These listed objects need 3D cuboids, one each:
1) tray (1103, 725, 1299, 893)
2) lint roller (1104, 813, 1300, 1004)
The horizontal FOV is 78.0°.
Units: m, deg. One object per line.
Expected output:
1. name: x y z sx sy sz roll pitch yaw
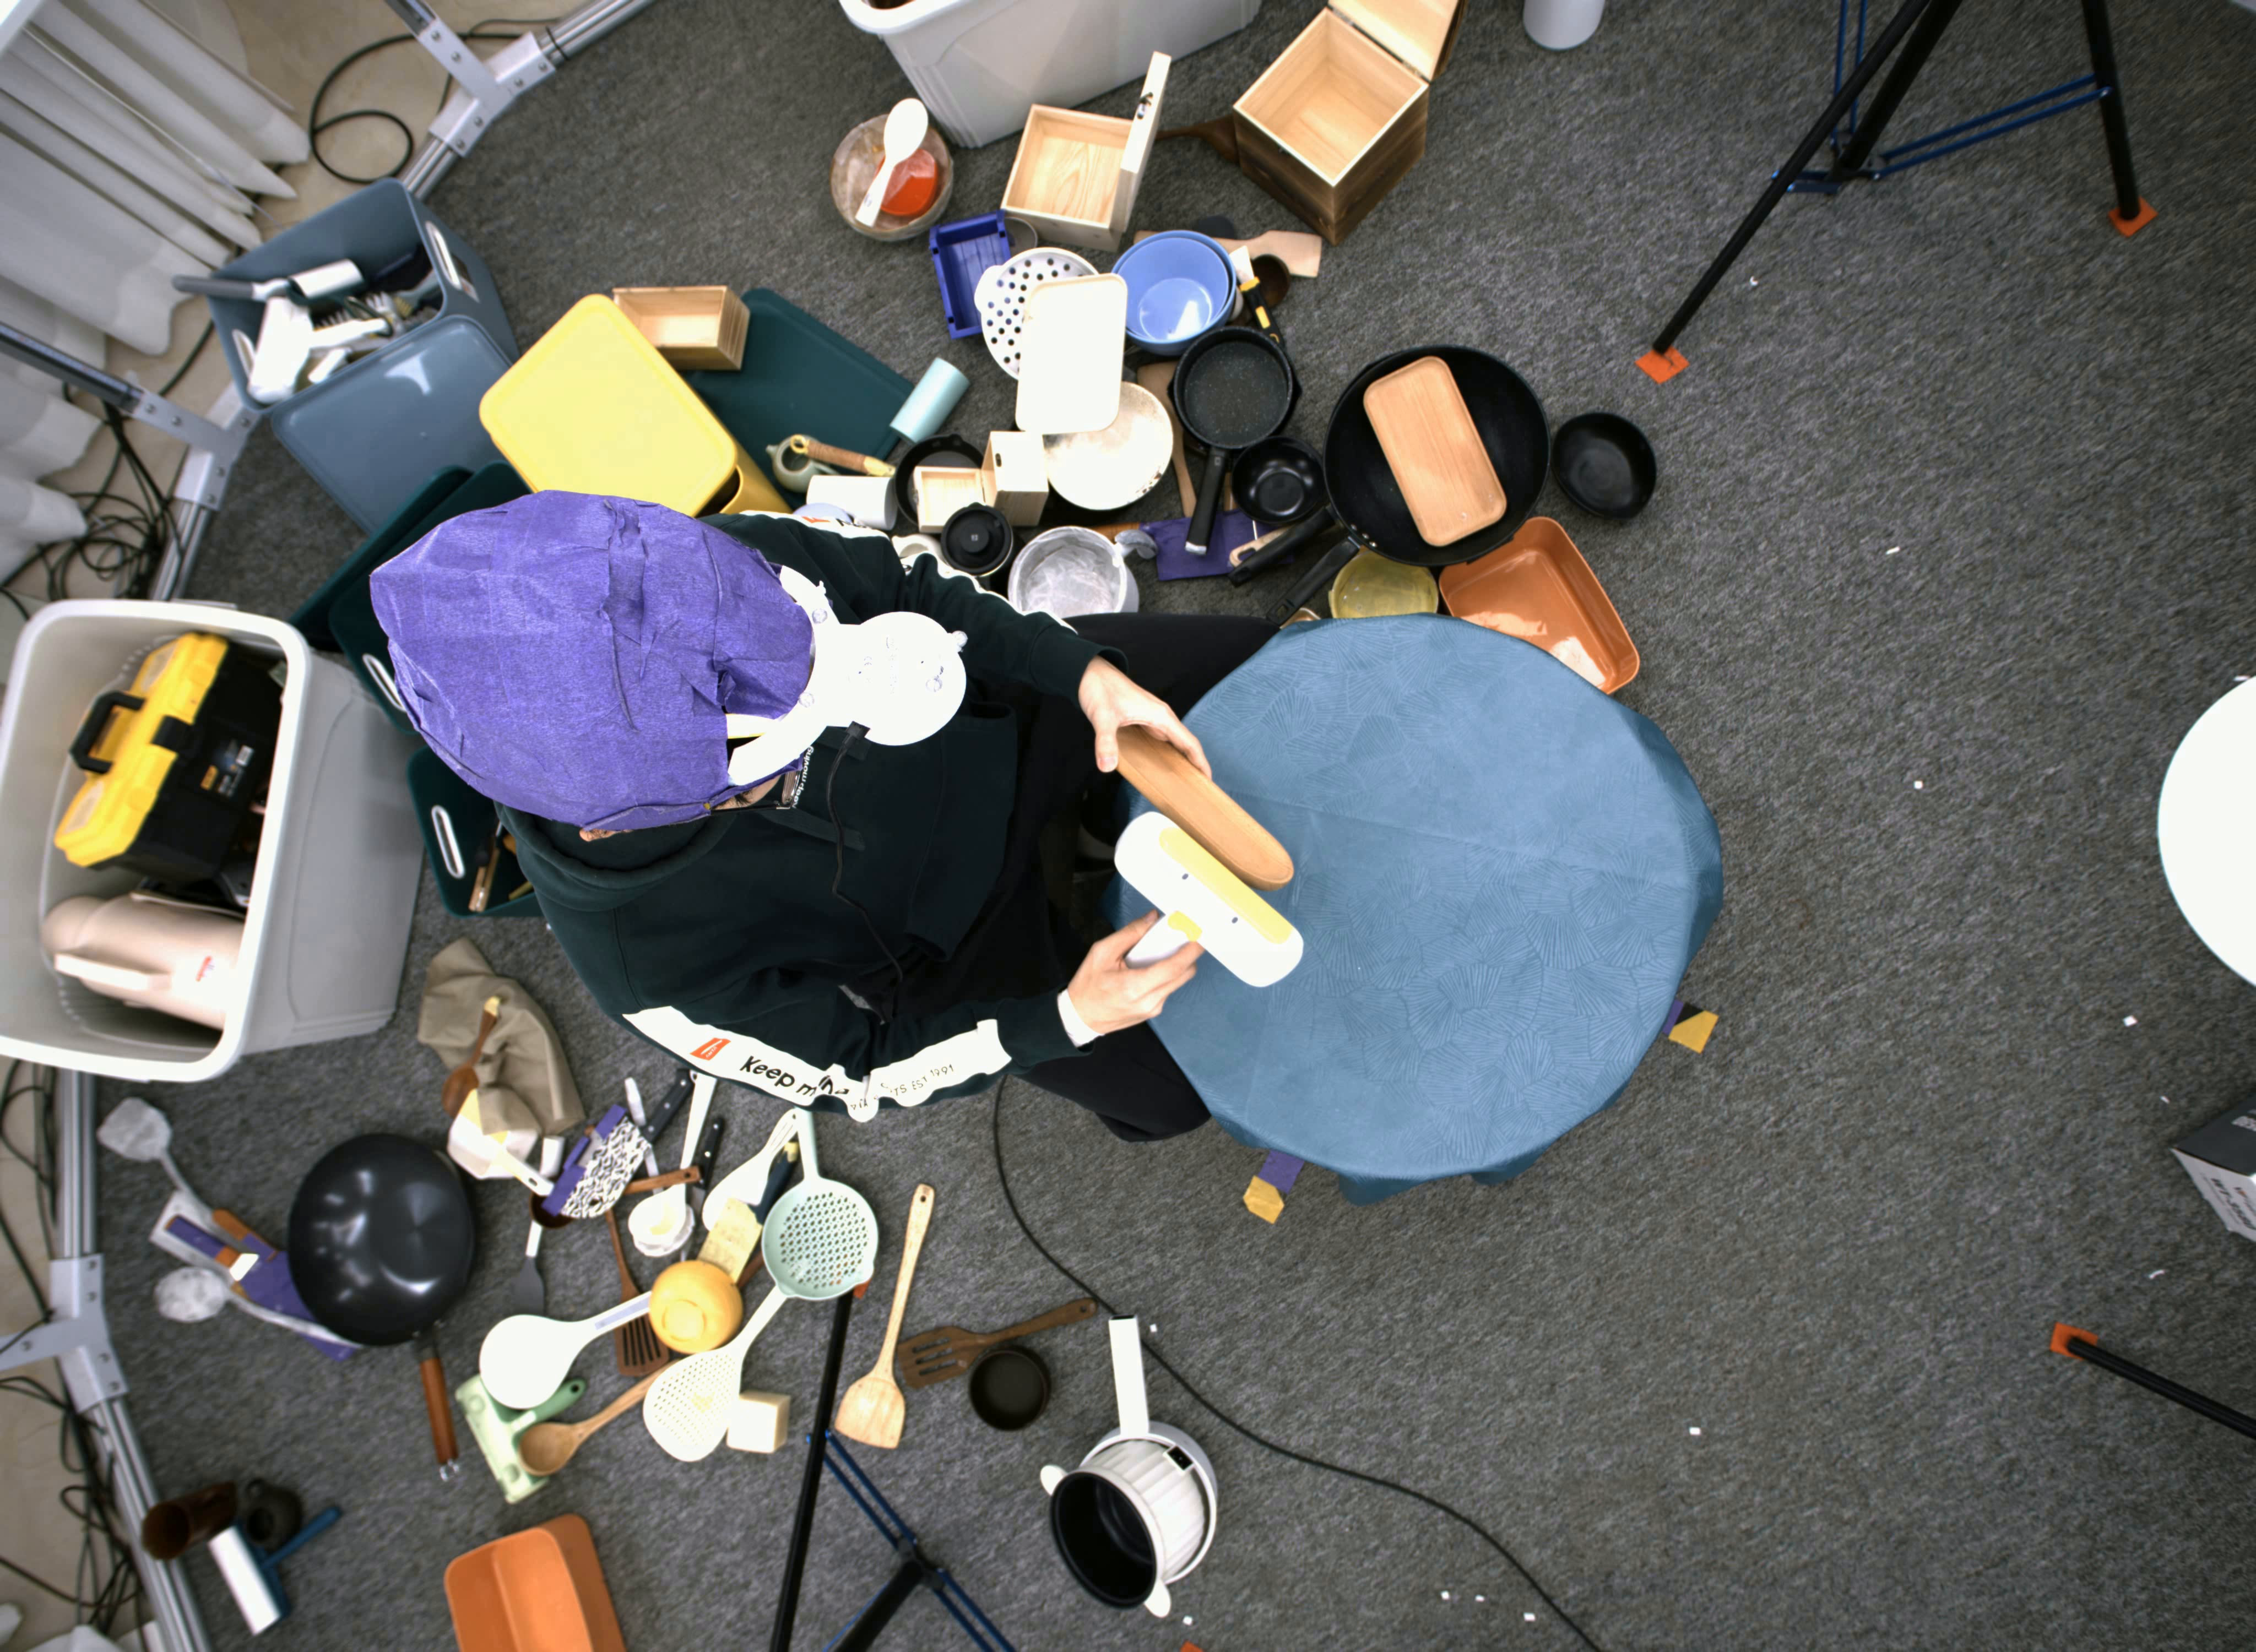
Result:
1. tray: 0.067 -0.018 1.304 0.229 0.100 0.021 44 120 15
2. lint roller: 0.040 0.098 1.265 0.193 0.197 0.072 35 51 -3
